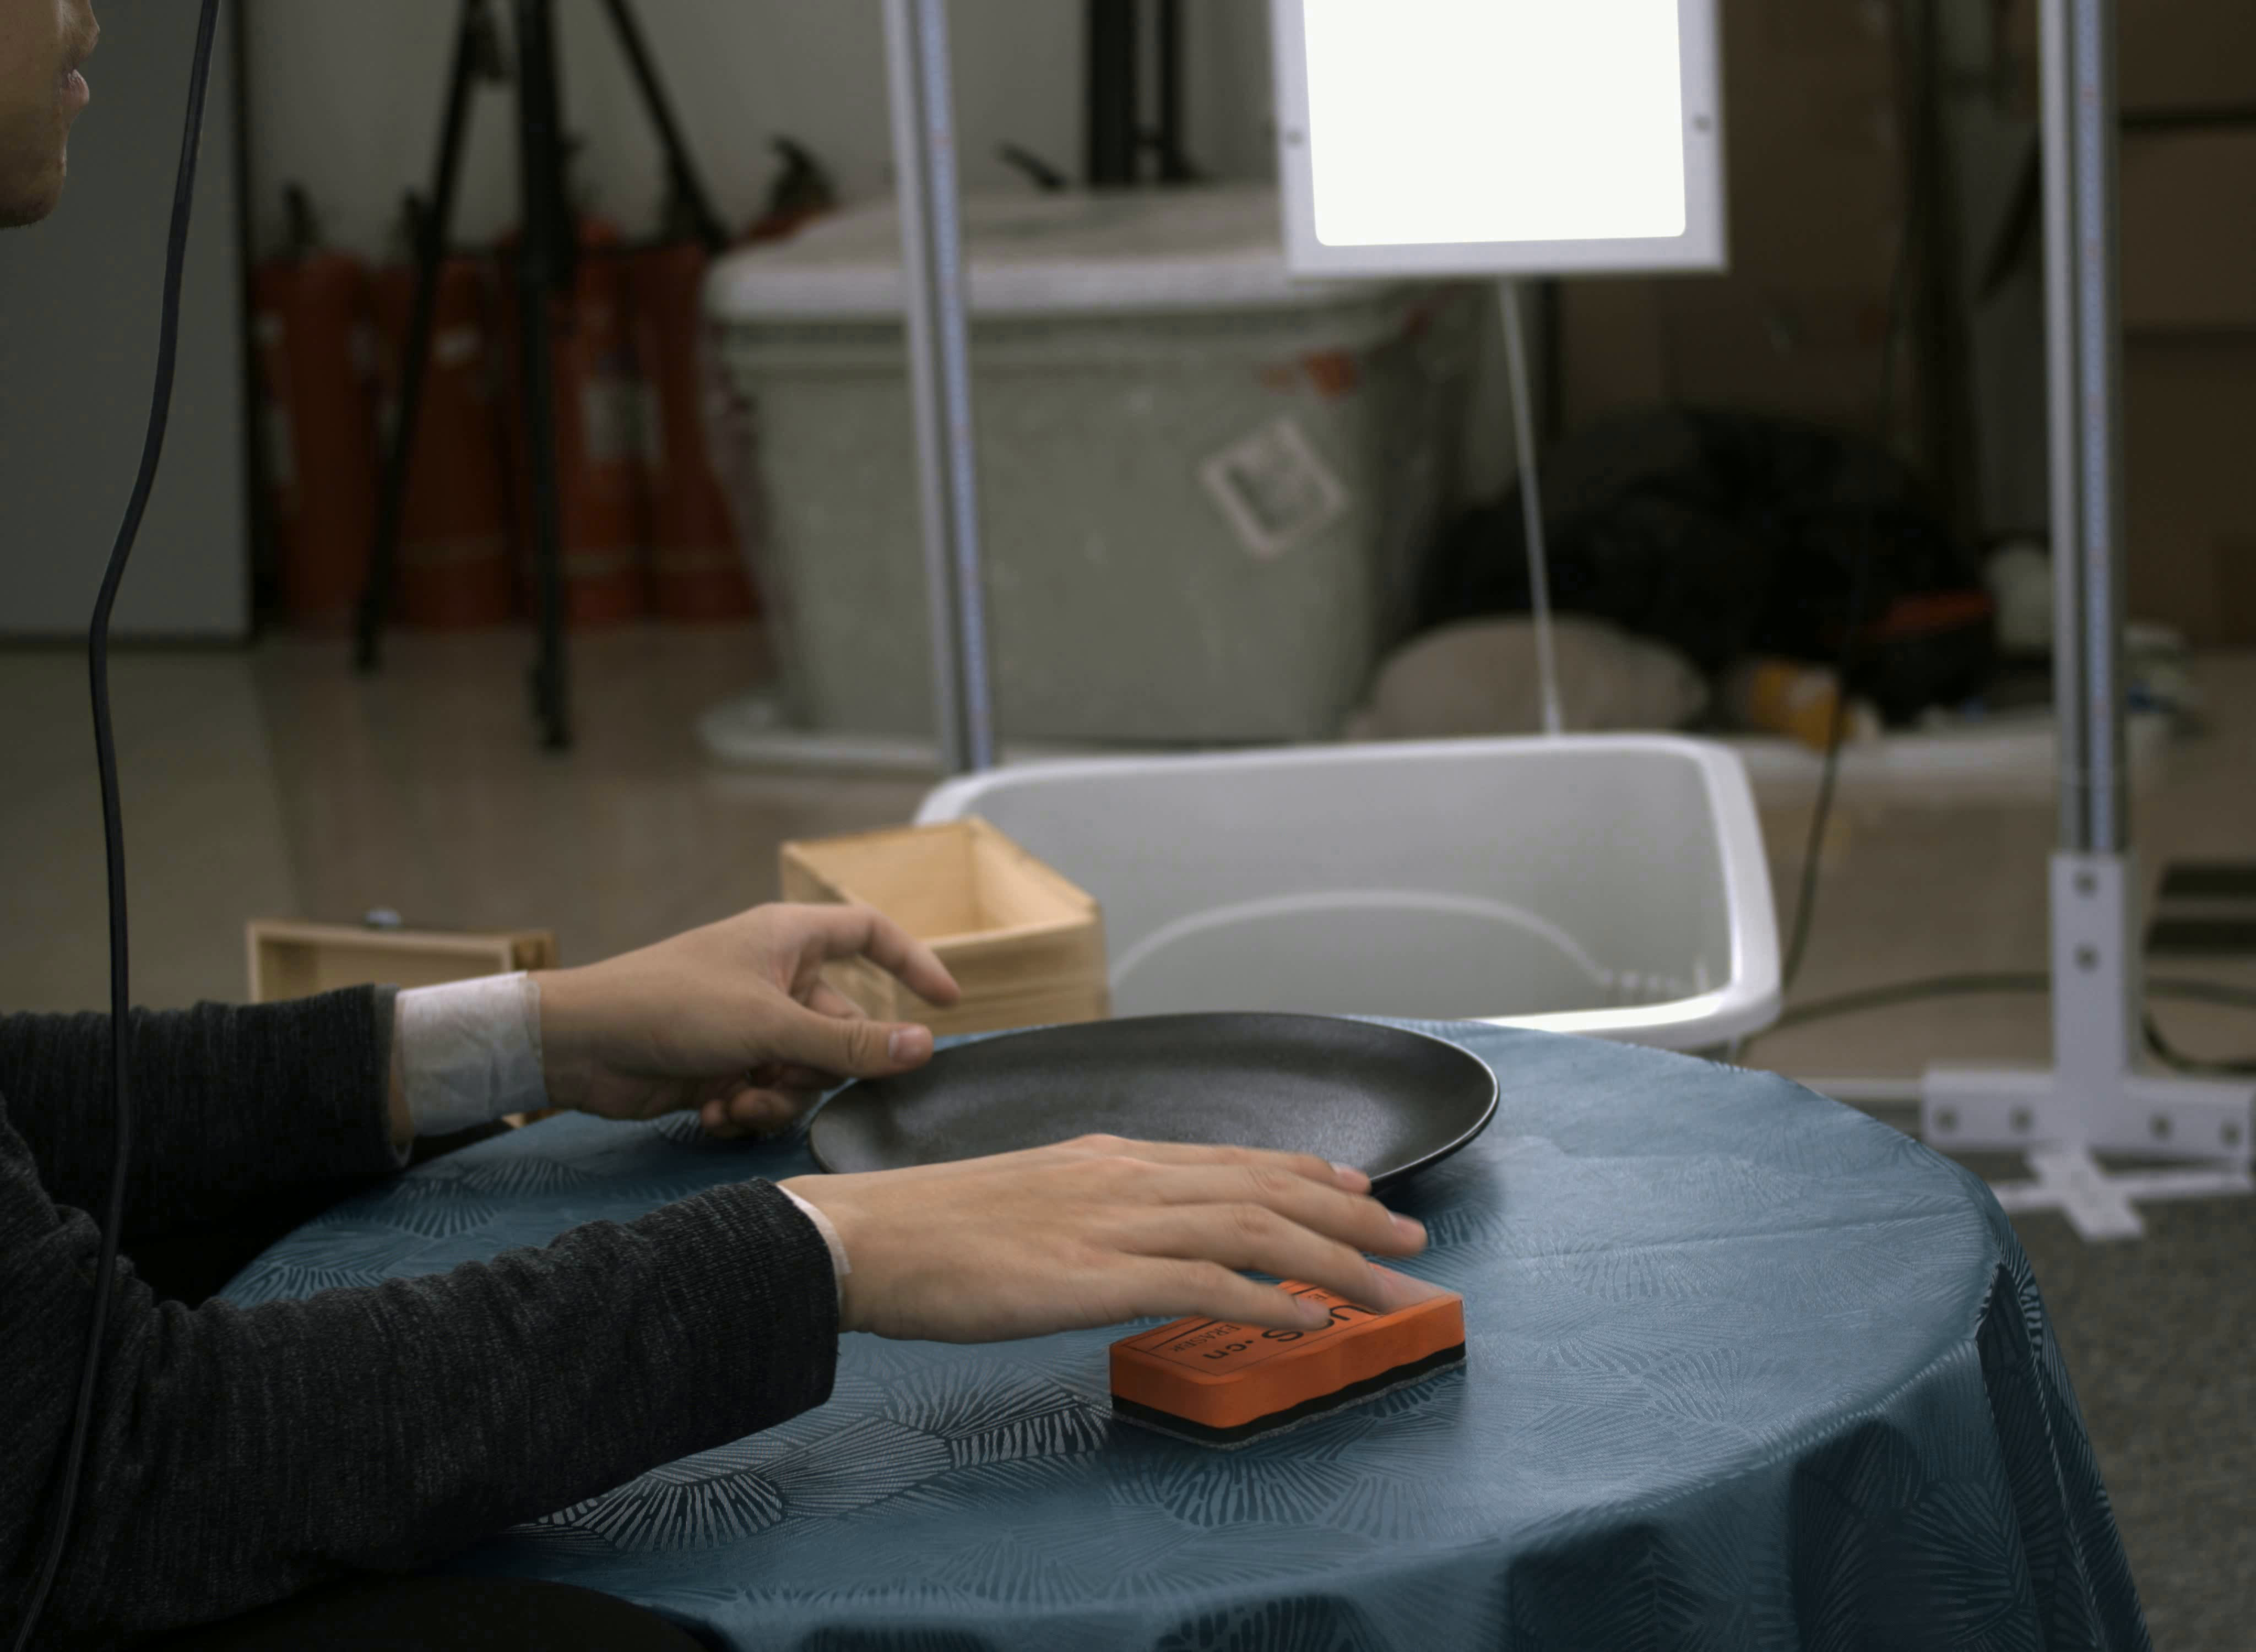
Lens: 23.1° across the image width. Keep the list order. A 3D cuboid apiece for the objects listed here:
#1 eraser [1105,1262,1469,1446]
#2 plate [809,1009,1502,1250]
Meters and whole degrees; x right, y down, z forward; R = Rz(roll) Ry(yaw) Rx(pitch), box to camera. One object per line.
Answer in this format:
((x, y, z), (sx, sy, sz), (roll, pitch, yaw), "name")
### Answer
((0.049, 0.161, 1.688), (0.105, 0.023, 0.060), (-14, 16, -35), "eraser")
((0.010, 0.108, 1.920), (0.244, 0.023, 0.244), (-5, 14, 0), "plate")
